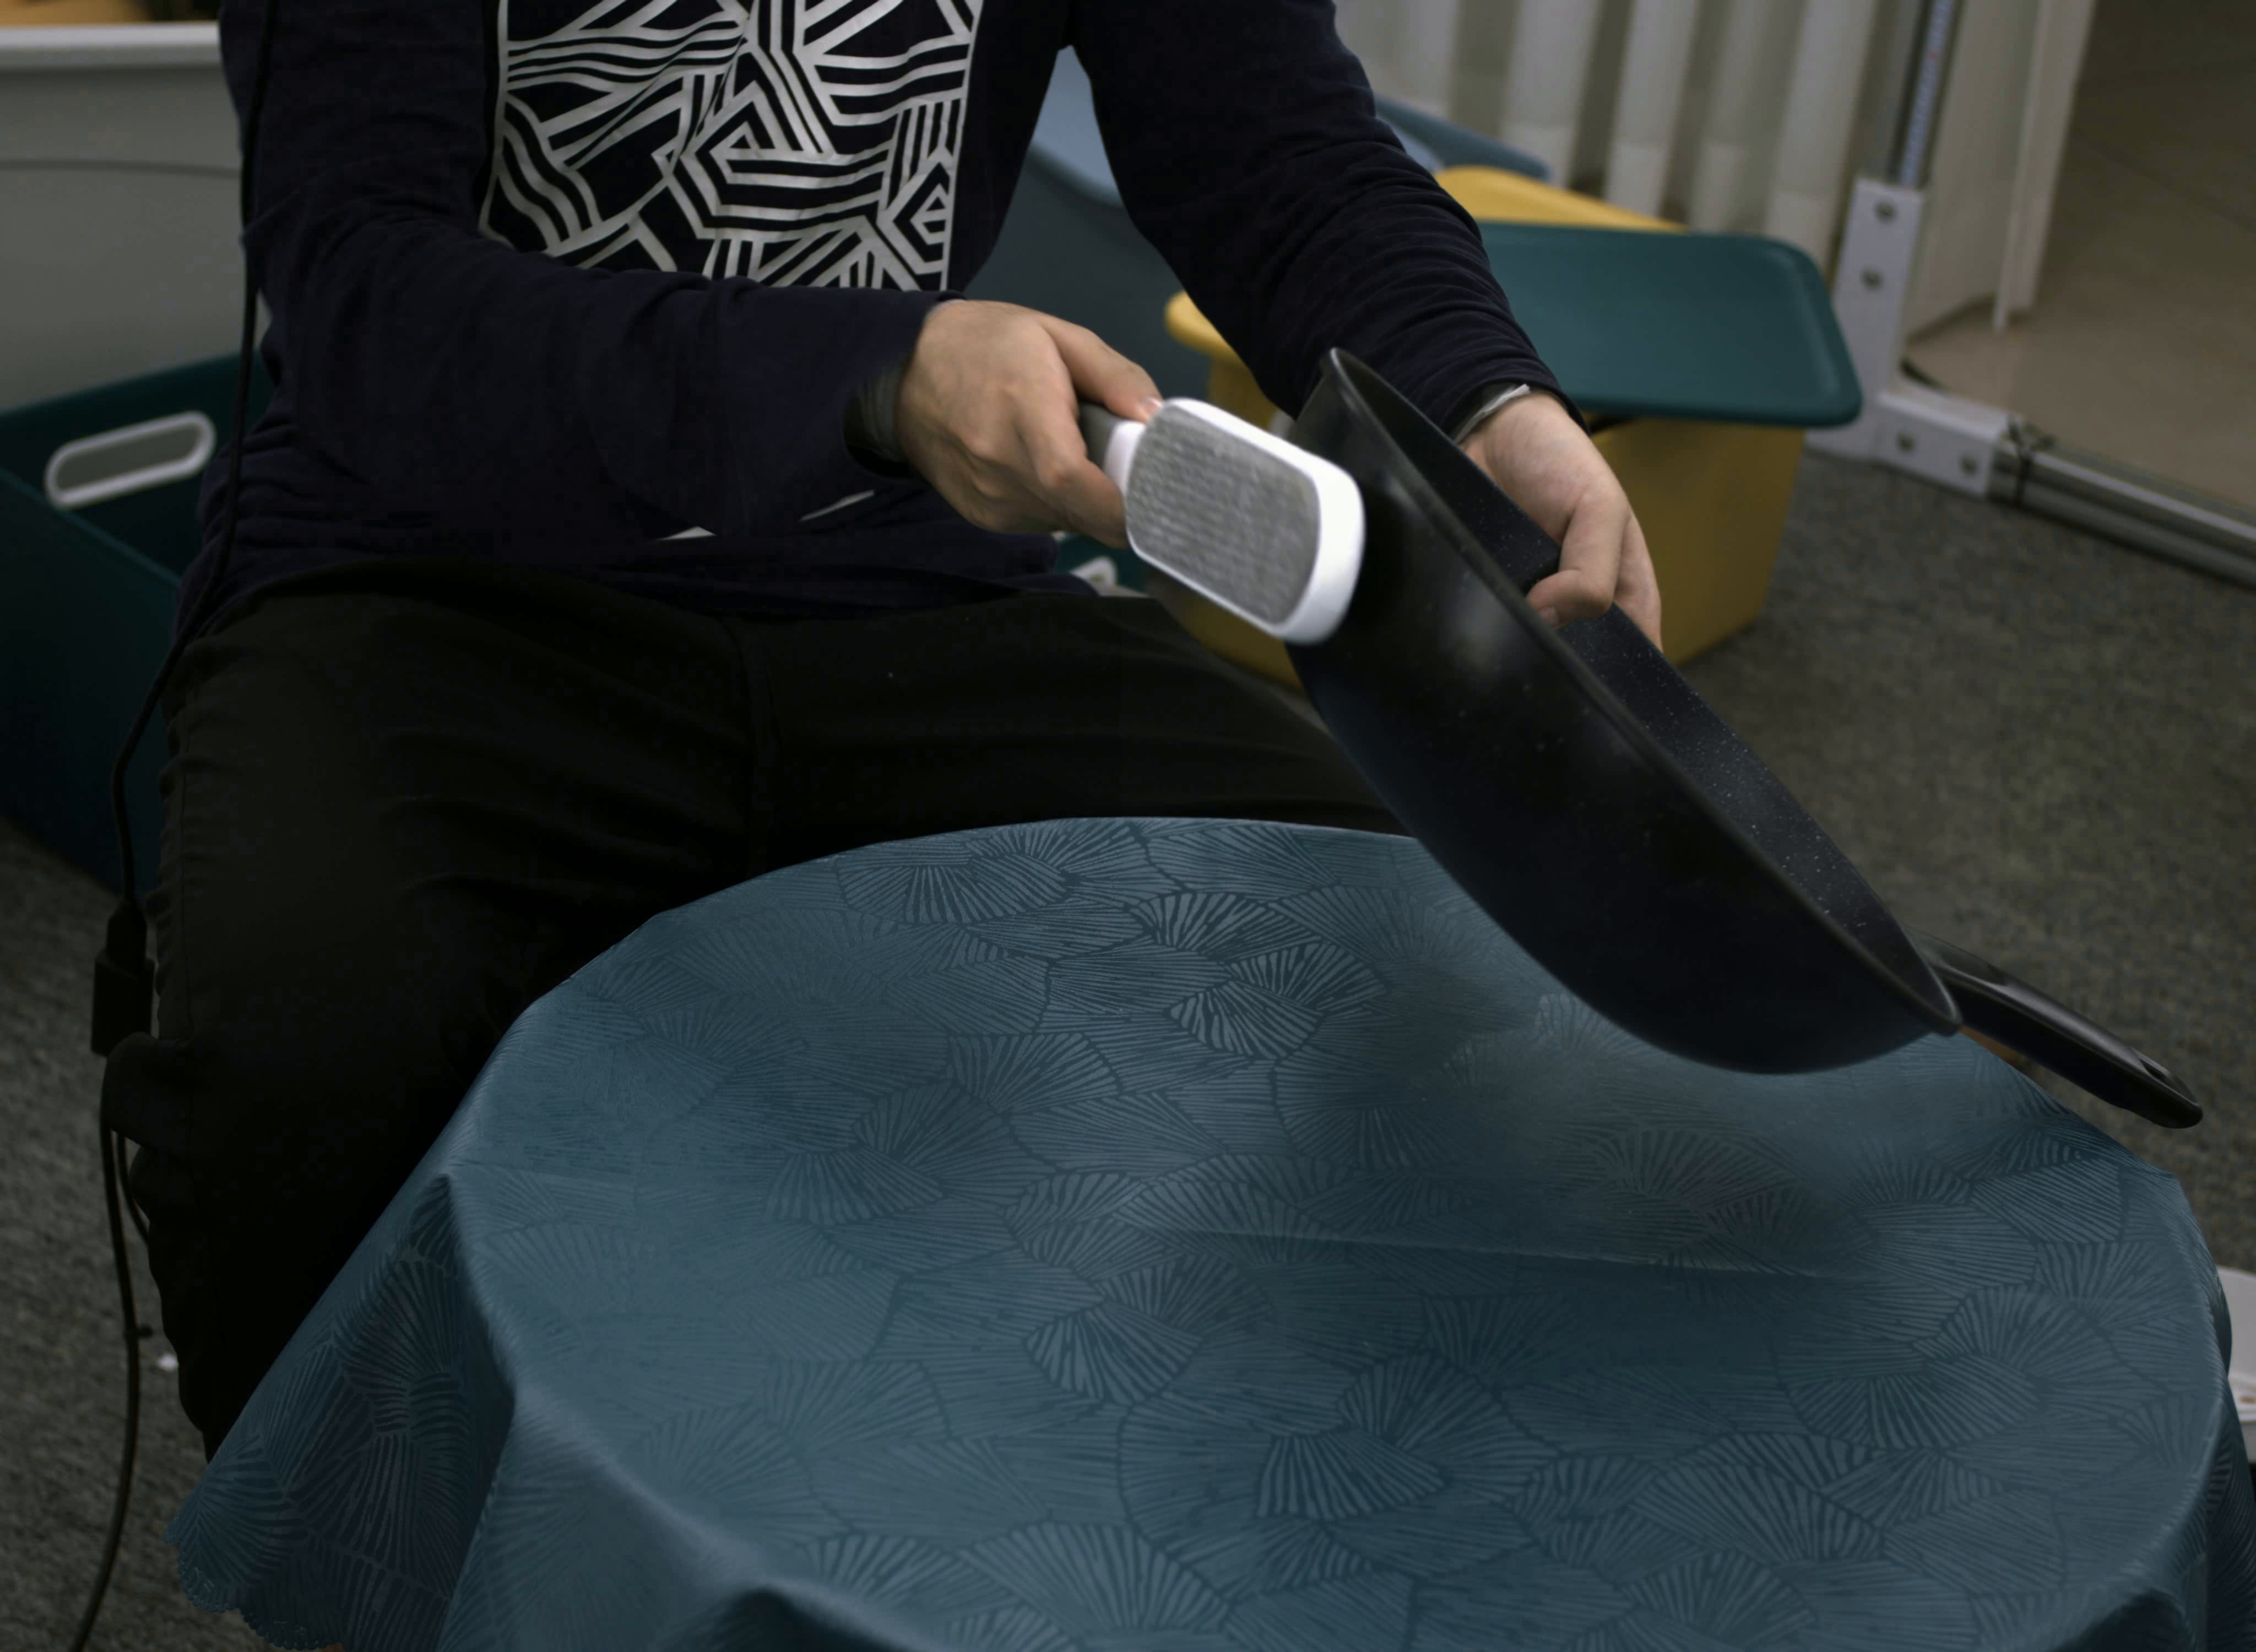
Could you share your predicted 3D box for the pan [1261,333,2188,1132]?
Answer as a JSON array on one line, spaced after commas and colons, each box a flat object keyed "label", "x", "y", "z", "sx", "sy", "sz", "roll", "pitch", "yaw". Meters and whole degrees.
[{"label": "pan", "x": 0.197, "y": 0.014, "z": 1.818, "sx": 0.472, "sy": 0.111, "sz": 0.313, "roll": 40, "pitch": 13, "yaw": -35}]

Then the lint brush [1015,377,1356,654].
[{"label": "lint brush", "x": 0.015, "y": -0.114, "z": 1.781, "sx": 0.021, "sy": 0.060, "sz": 0.311, "roll": 4, "pitch": 13, "yaw": -20}]
